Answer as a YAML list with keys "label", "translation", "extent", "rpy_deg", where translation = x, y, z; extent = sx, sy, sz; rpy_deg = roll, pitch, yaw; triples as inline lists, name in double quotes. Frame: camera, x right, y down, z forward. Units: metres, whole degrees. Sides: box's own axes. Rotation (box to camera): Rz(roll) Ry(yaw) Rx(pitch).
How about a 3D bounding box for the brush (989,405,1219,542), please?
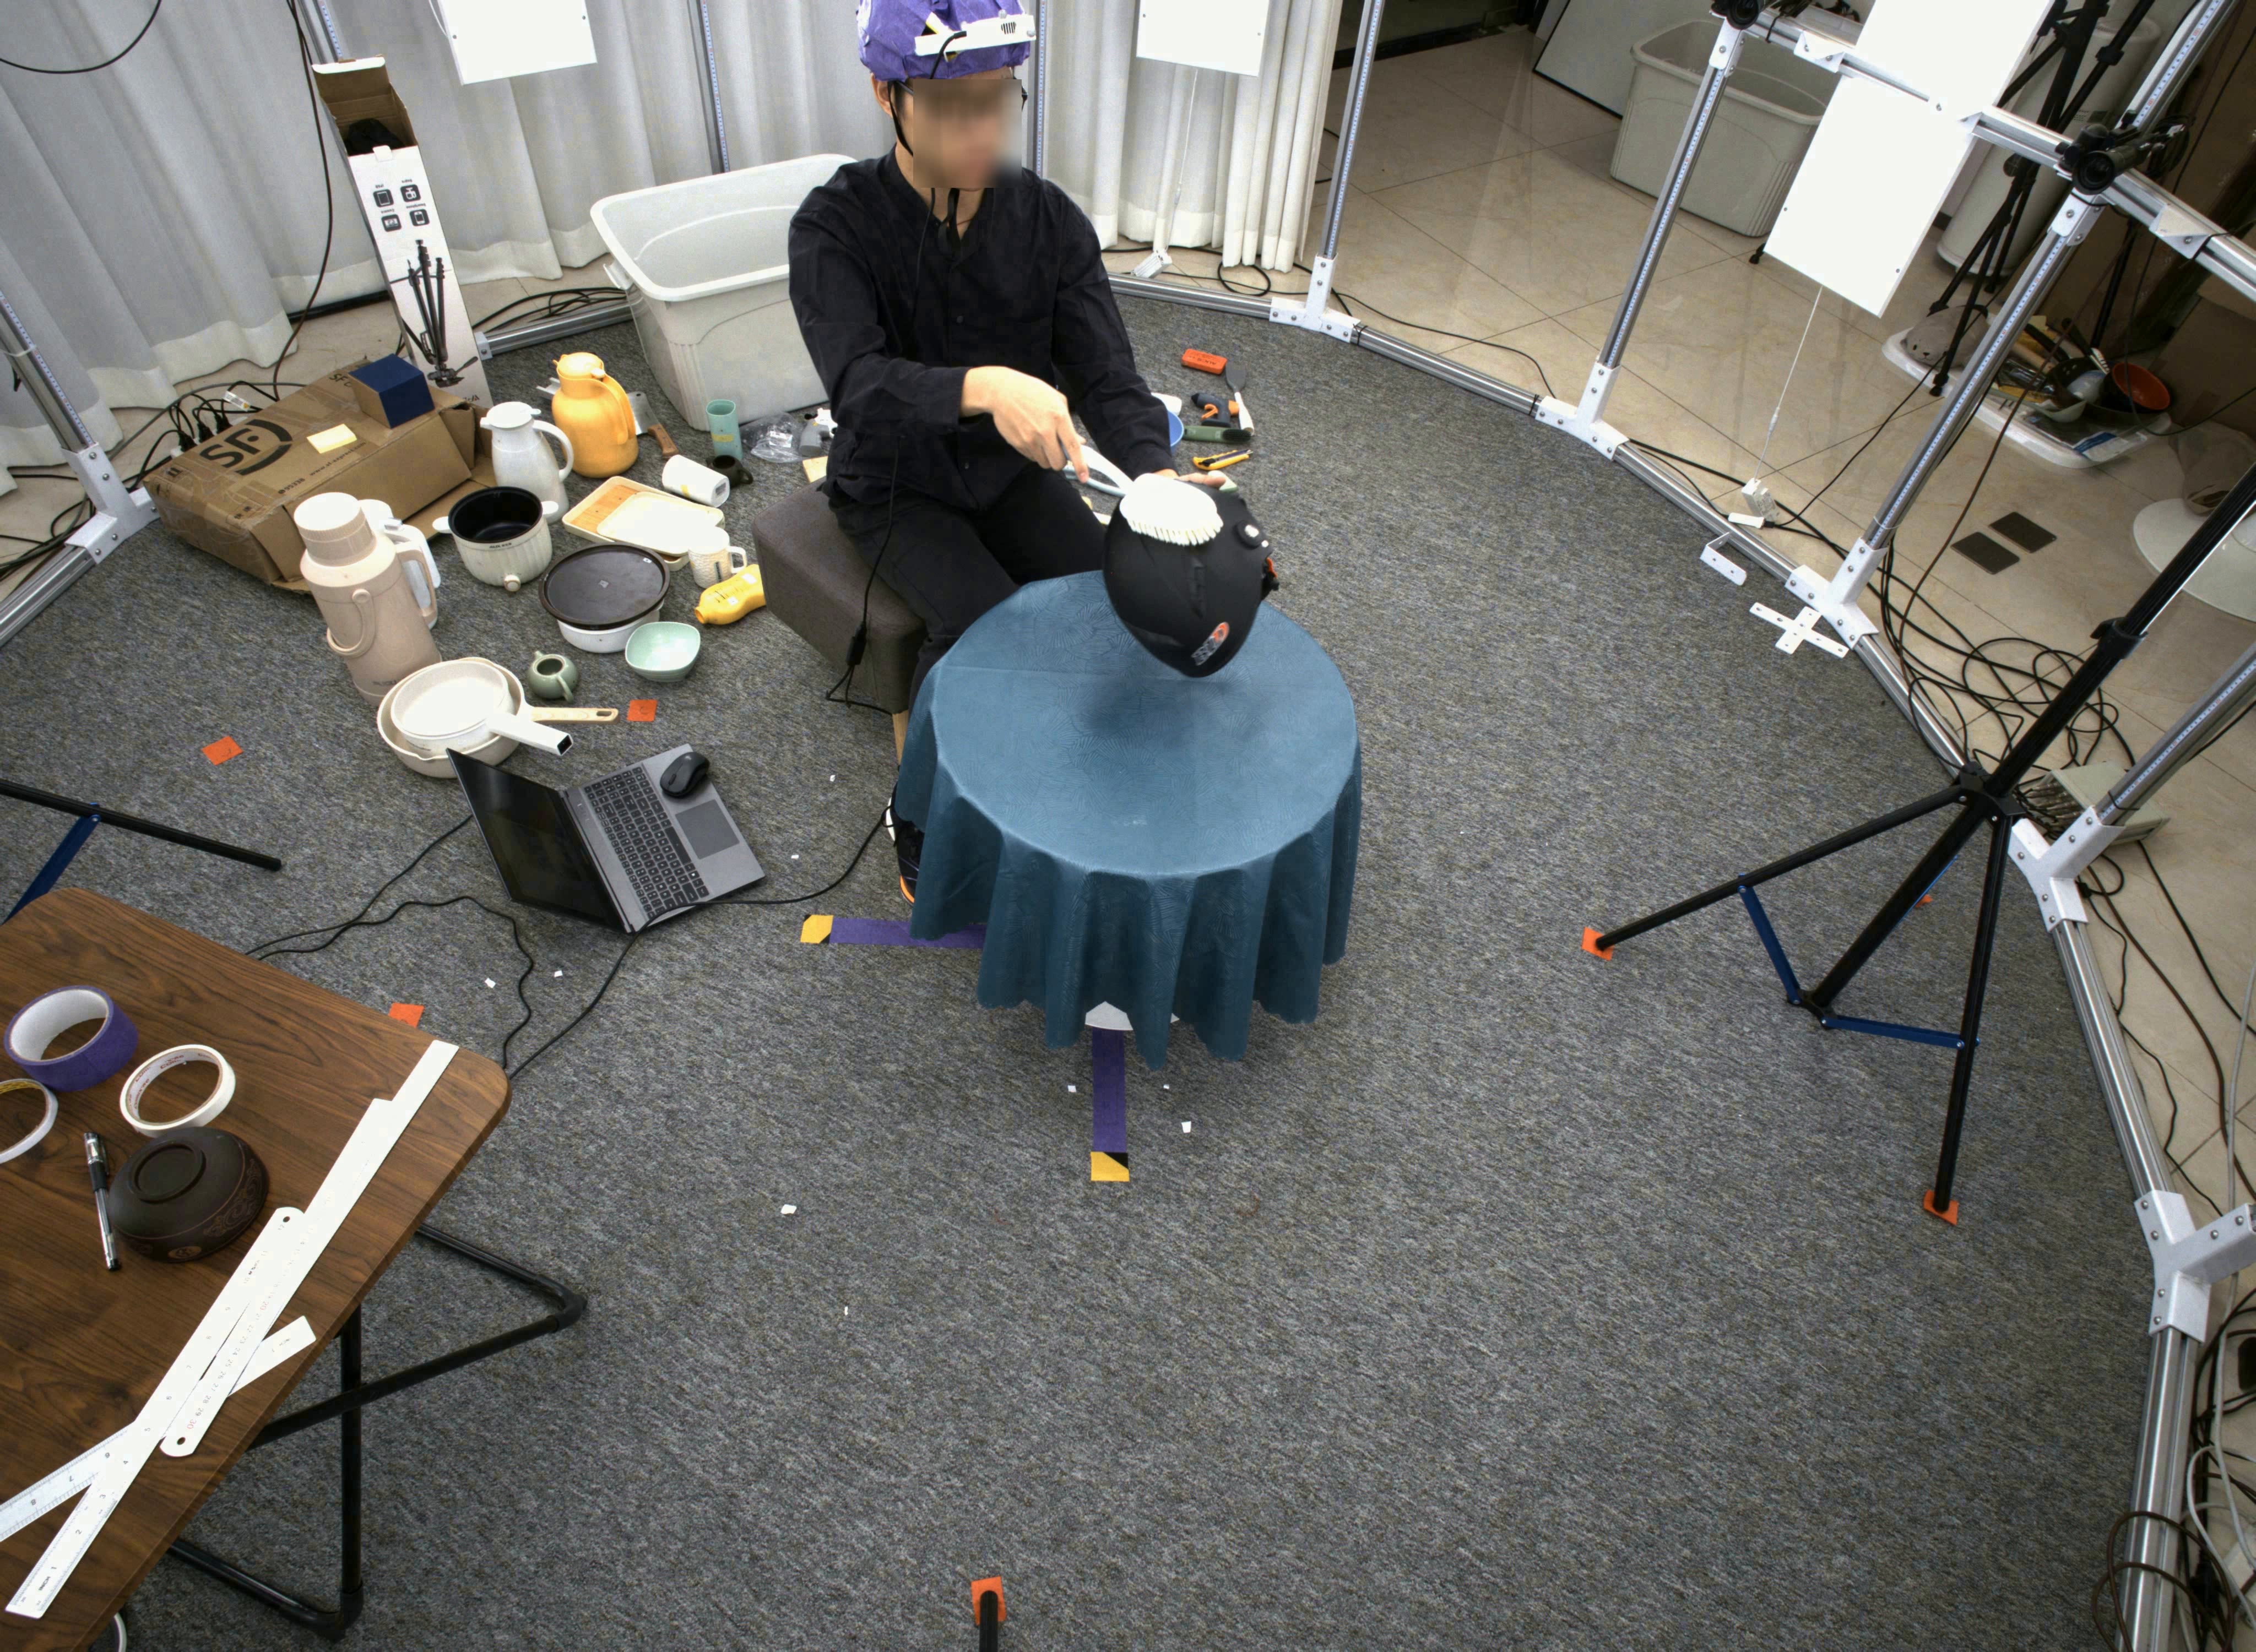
- label: "brush"
  translation: [-0.030, -0.439, 1.622]
  extent: [0.328, 0.083, 0.084]
  rpy_deg: [28, 36, 17]

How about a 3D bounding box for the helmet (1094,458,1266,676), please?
- label: "helmet"
  translation: [0.054, -0.343, 1.688]
  extent: [0.171, 0.243, 0.283]
  rpy_deg: [13, 48, -33]
